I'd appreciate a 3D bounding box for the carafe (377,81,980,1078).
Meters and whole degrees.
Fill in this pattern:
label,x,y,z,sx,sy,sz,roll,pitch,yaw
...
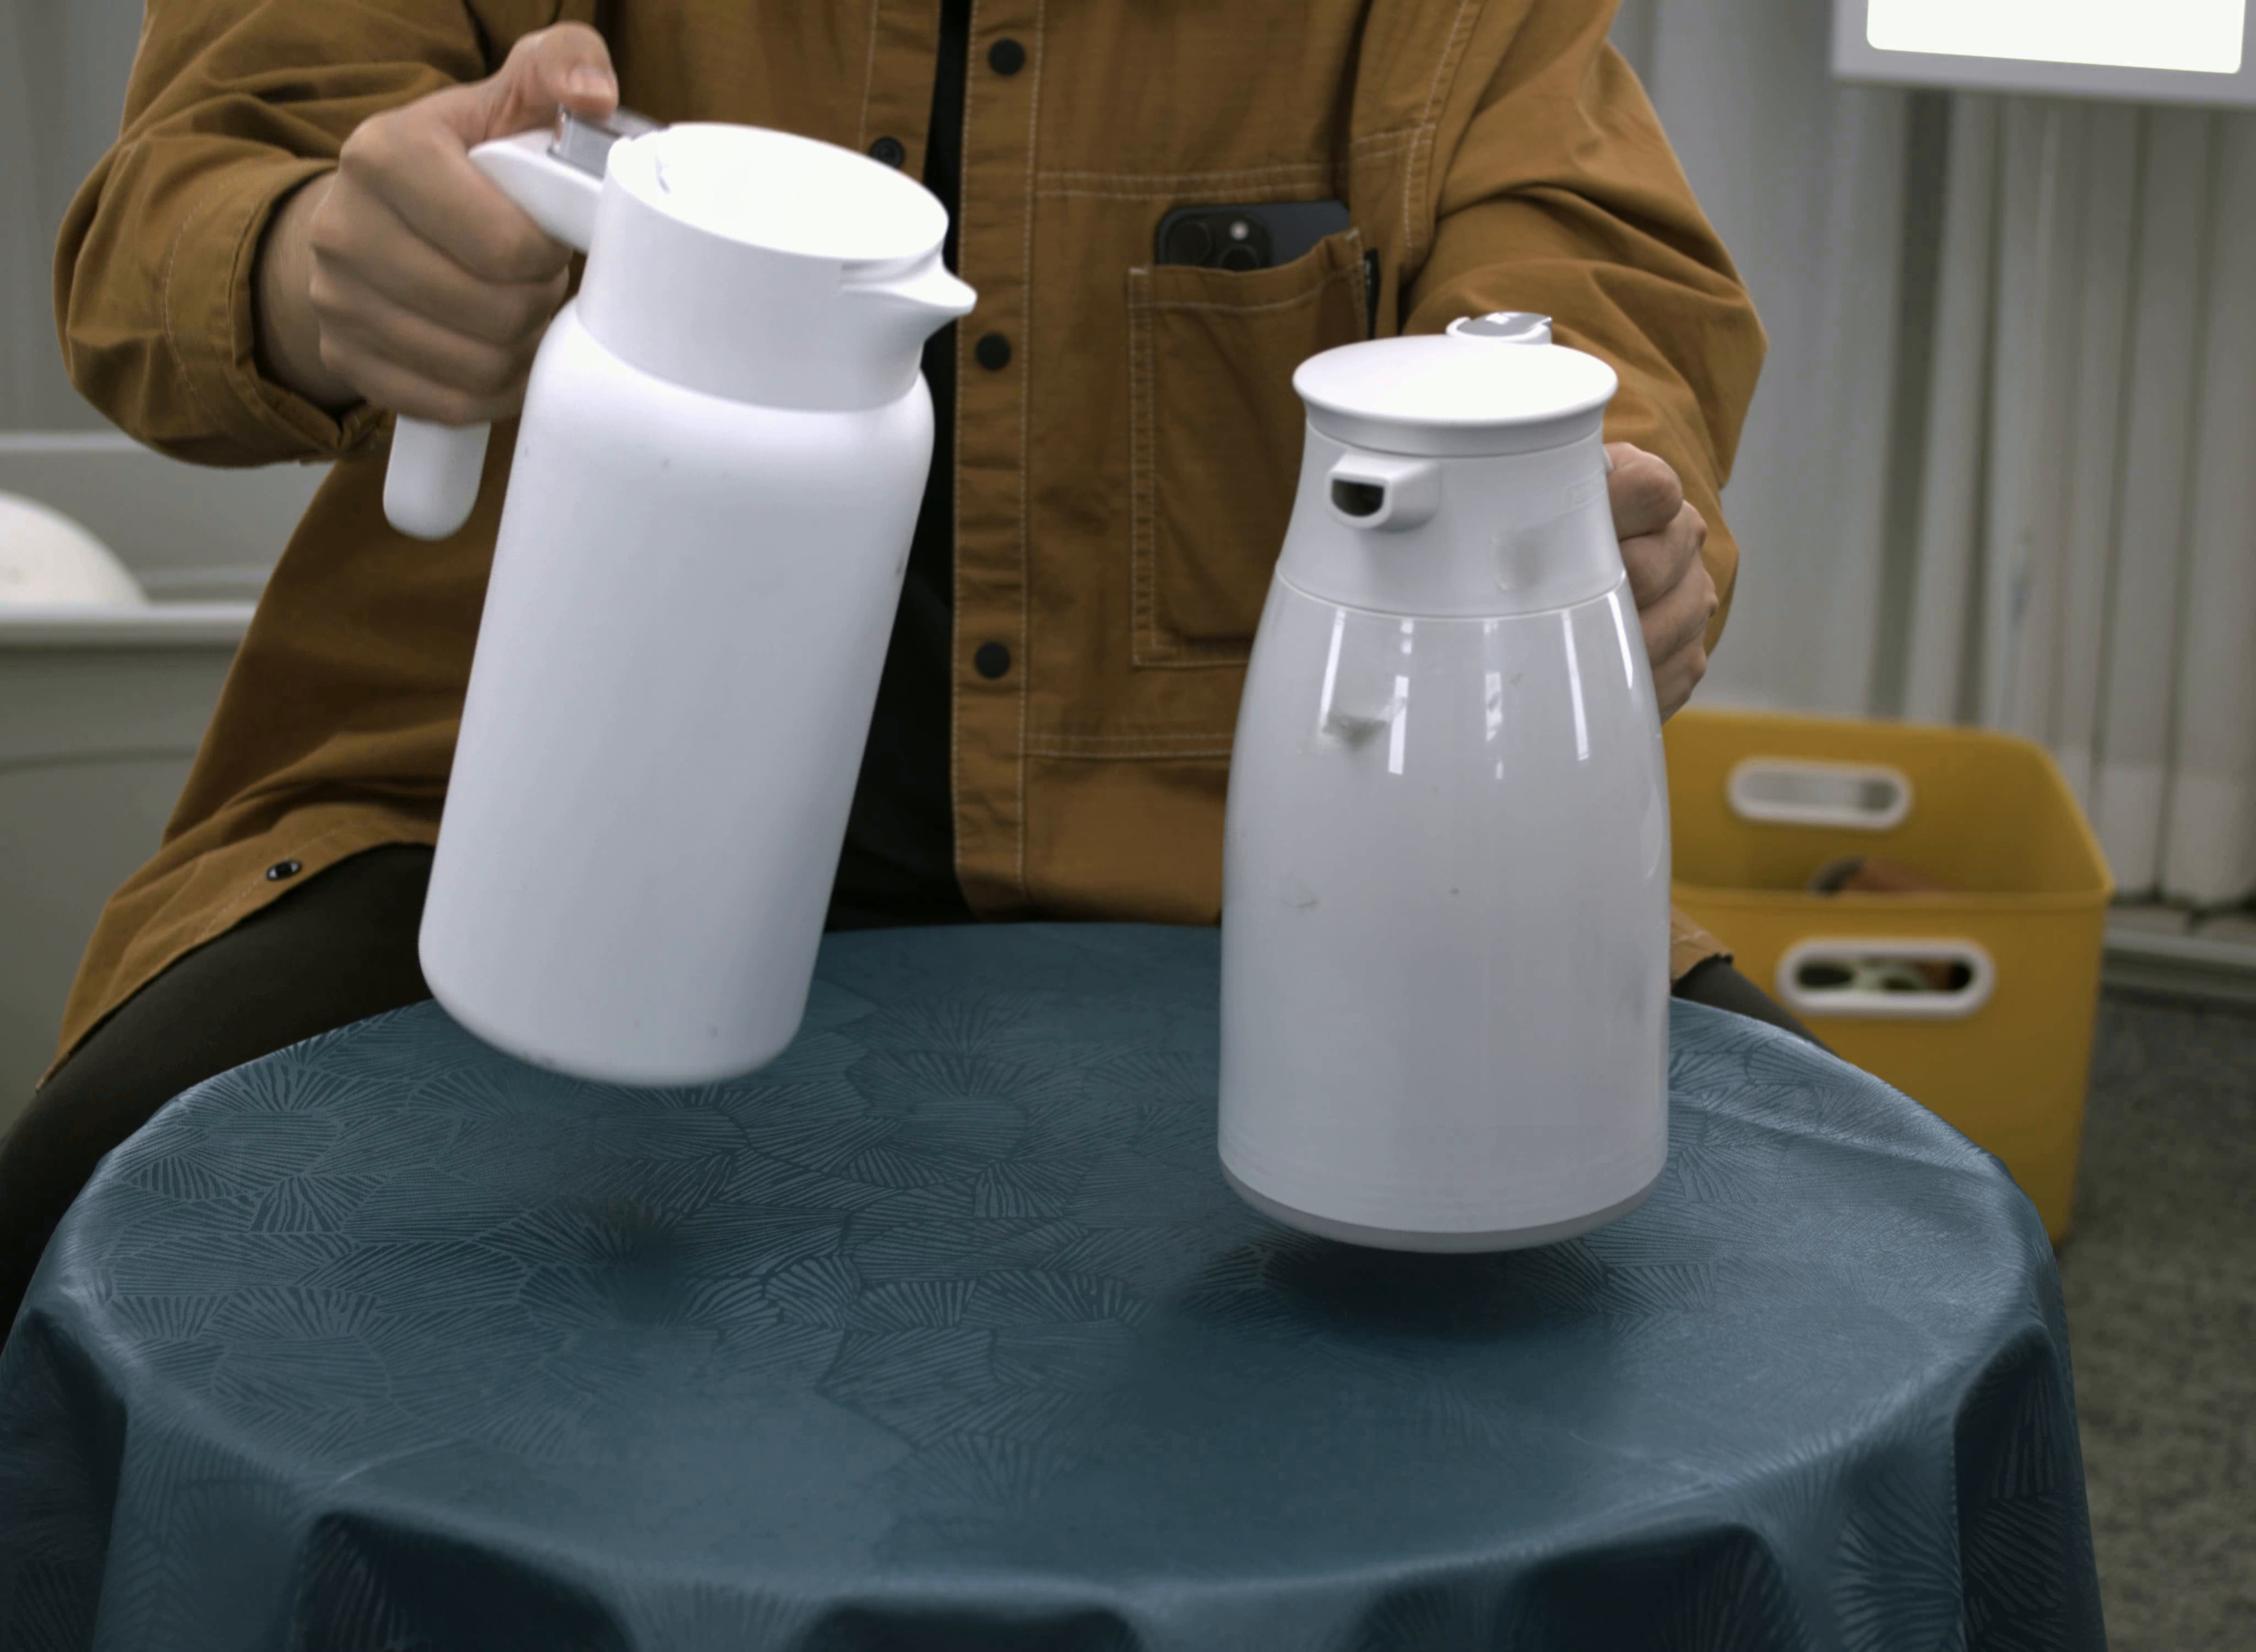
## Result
label,x,y,z,sx,sy,sz,roll,pitch,yaw
carafe,-0.143,-0.074,1.525,0.171,0.271,0.124,25,29,21

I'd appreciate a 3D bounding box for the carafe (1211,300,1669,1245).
label,x,y,z,sx,sy,sz,roll,pitch,yaw
carafe,0.099,-0.025,1.524,0.131,0.251,0.168,10,21,25
